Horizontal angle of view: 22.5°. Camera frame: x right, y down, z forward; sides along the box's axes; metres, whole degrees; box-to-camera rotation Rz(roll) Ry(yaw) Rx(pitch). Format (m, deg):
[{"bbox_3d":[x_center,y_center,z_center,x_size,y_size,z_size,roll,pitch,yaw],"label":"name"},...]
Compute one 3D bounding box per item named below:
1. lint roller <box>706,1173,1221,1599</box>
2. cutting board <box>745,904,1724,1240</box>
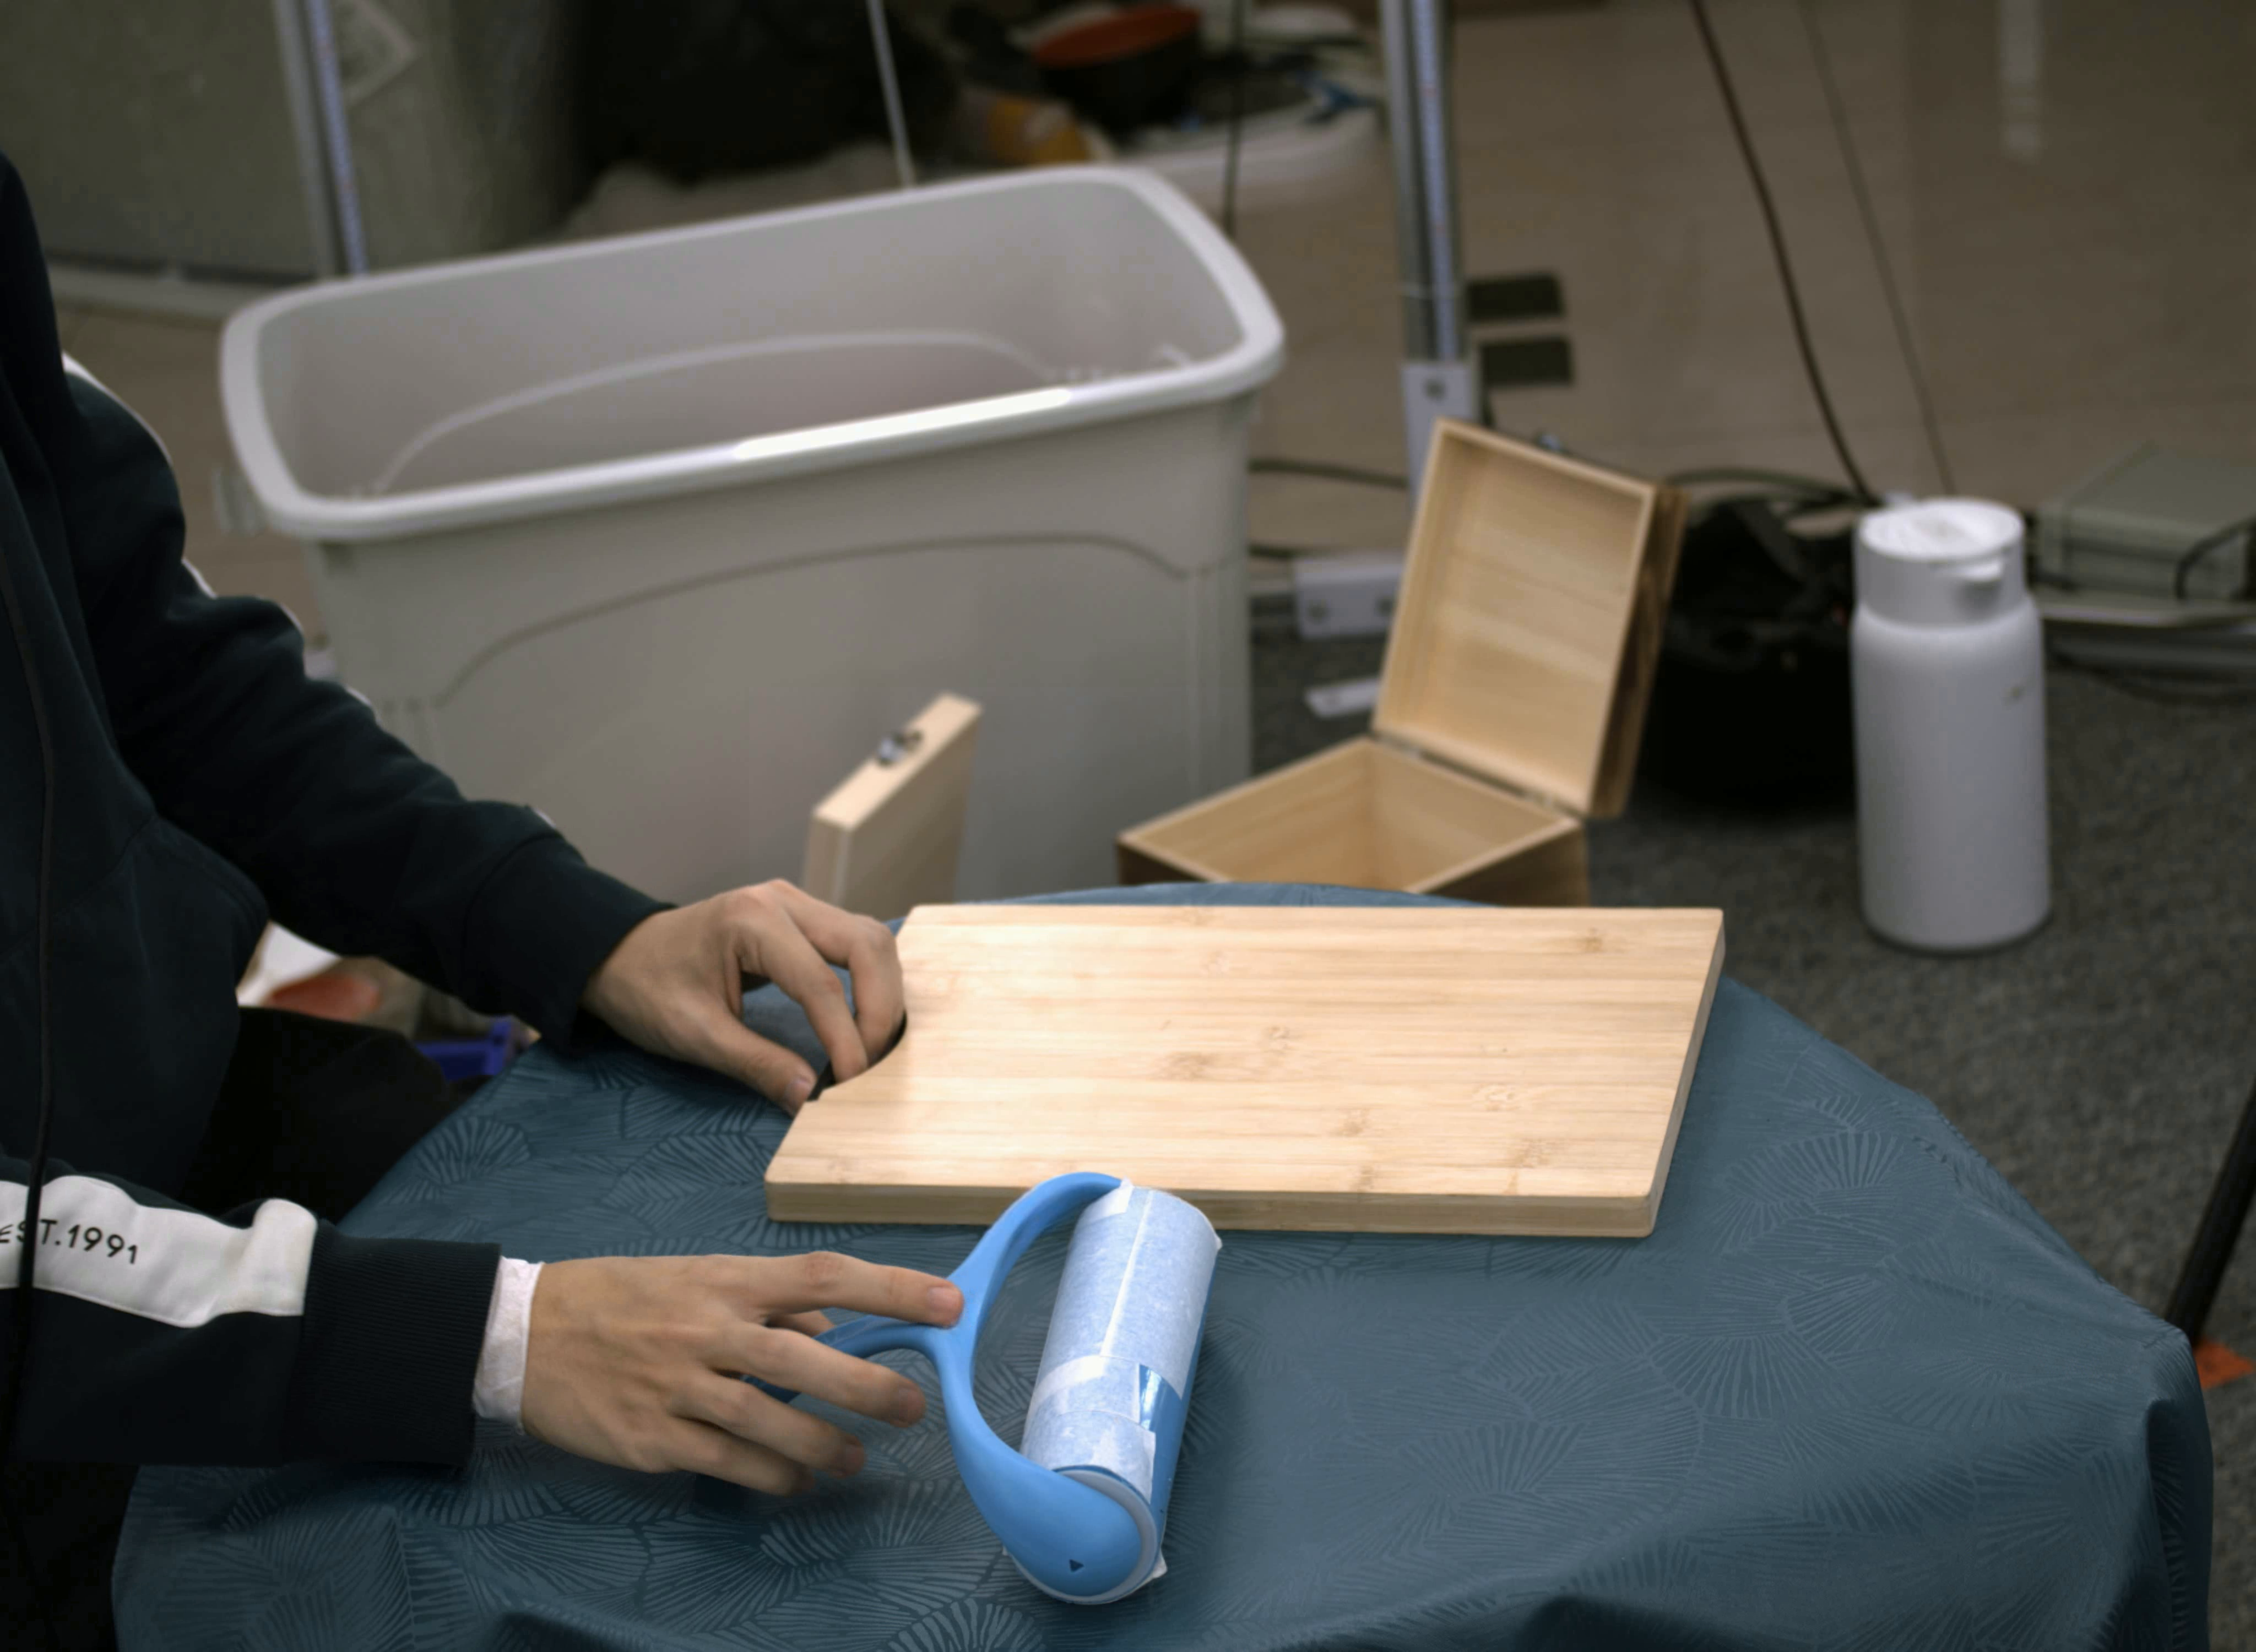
[{"bbox_3d":[-0.062,0.196,1.970,0.180,0.069,0.225,-3,26,6],"label":"lint roller"},{"bbox_3d":[0.047,0.092,2.214,0.348,0.024,0.247,0,25,13],"label":"cutting board"}]
